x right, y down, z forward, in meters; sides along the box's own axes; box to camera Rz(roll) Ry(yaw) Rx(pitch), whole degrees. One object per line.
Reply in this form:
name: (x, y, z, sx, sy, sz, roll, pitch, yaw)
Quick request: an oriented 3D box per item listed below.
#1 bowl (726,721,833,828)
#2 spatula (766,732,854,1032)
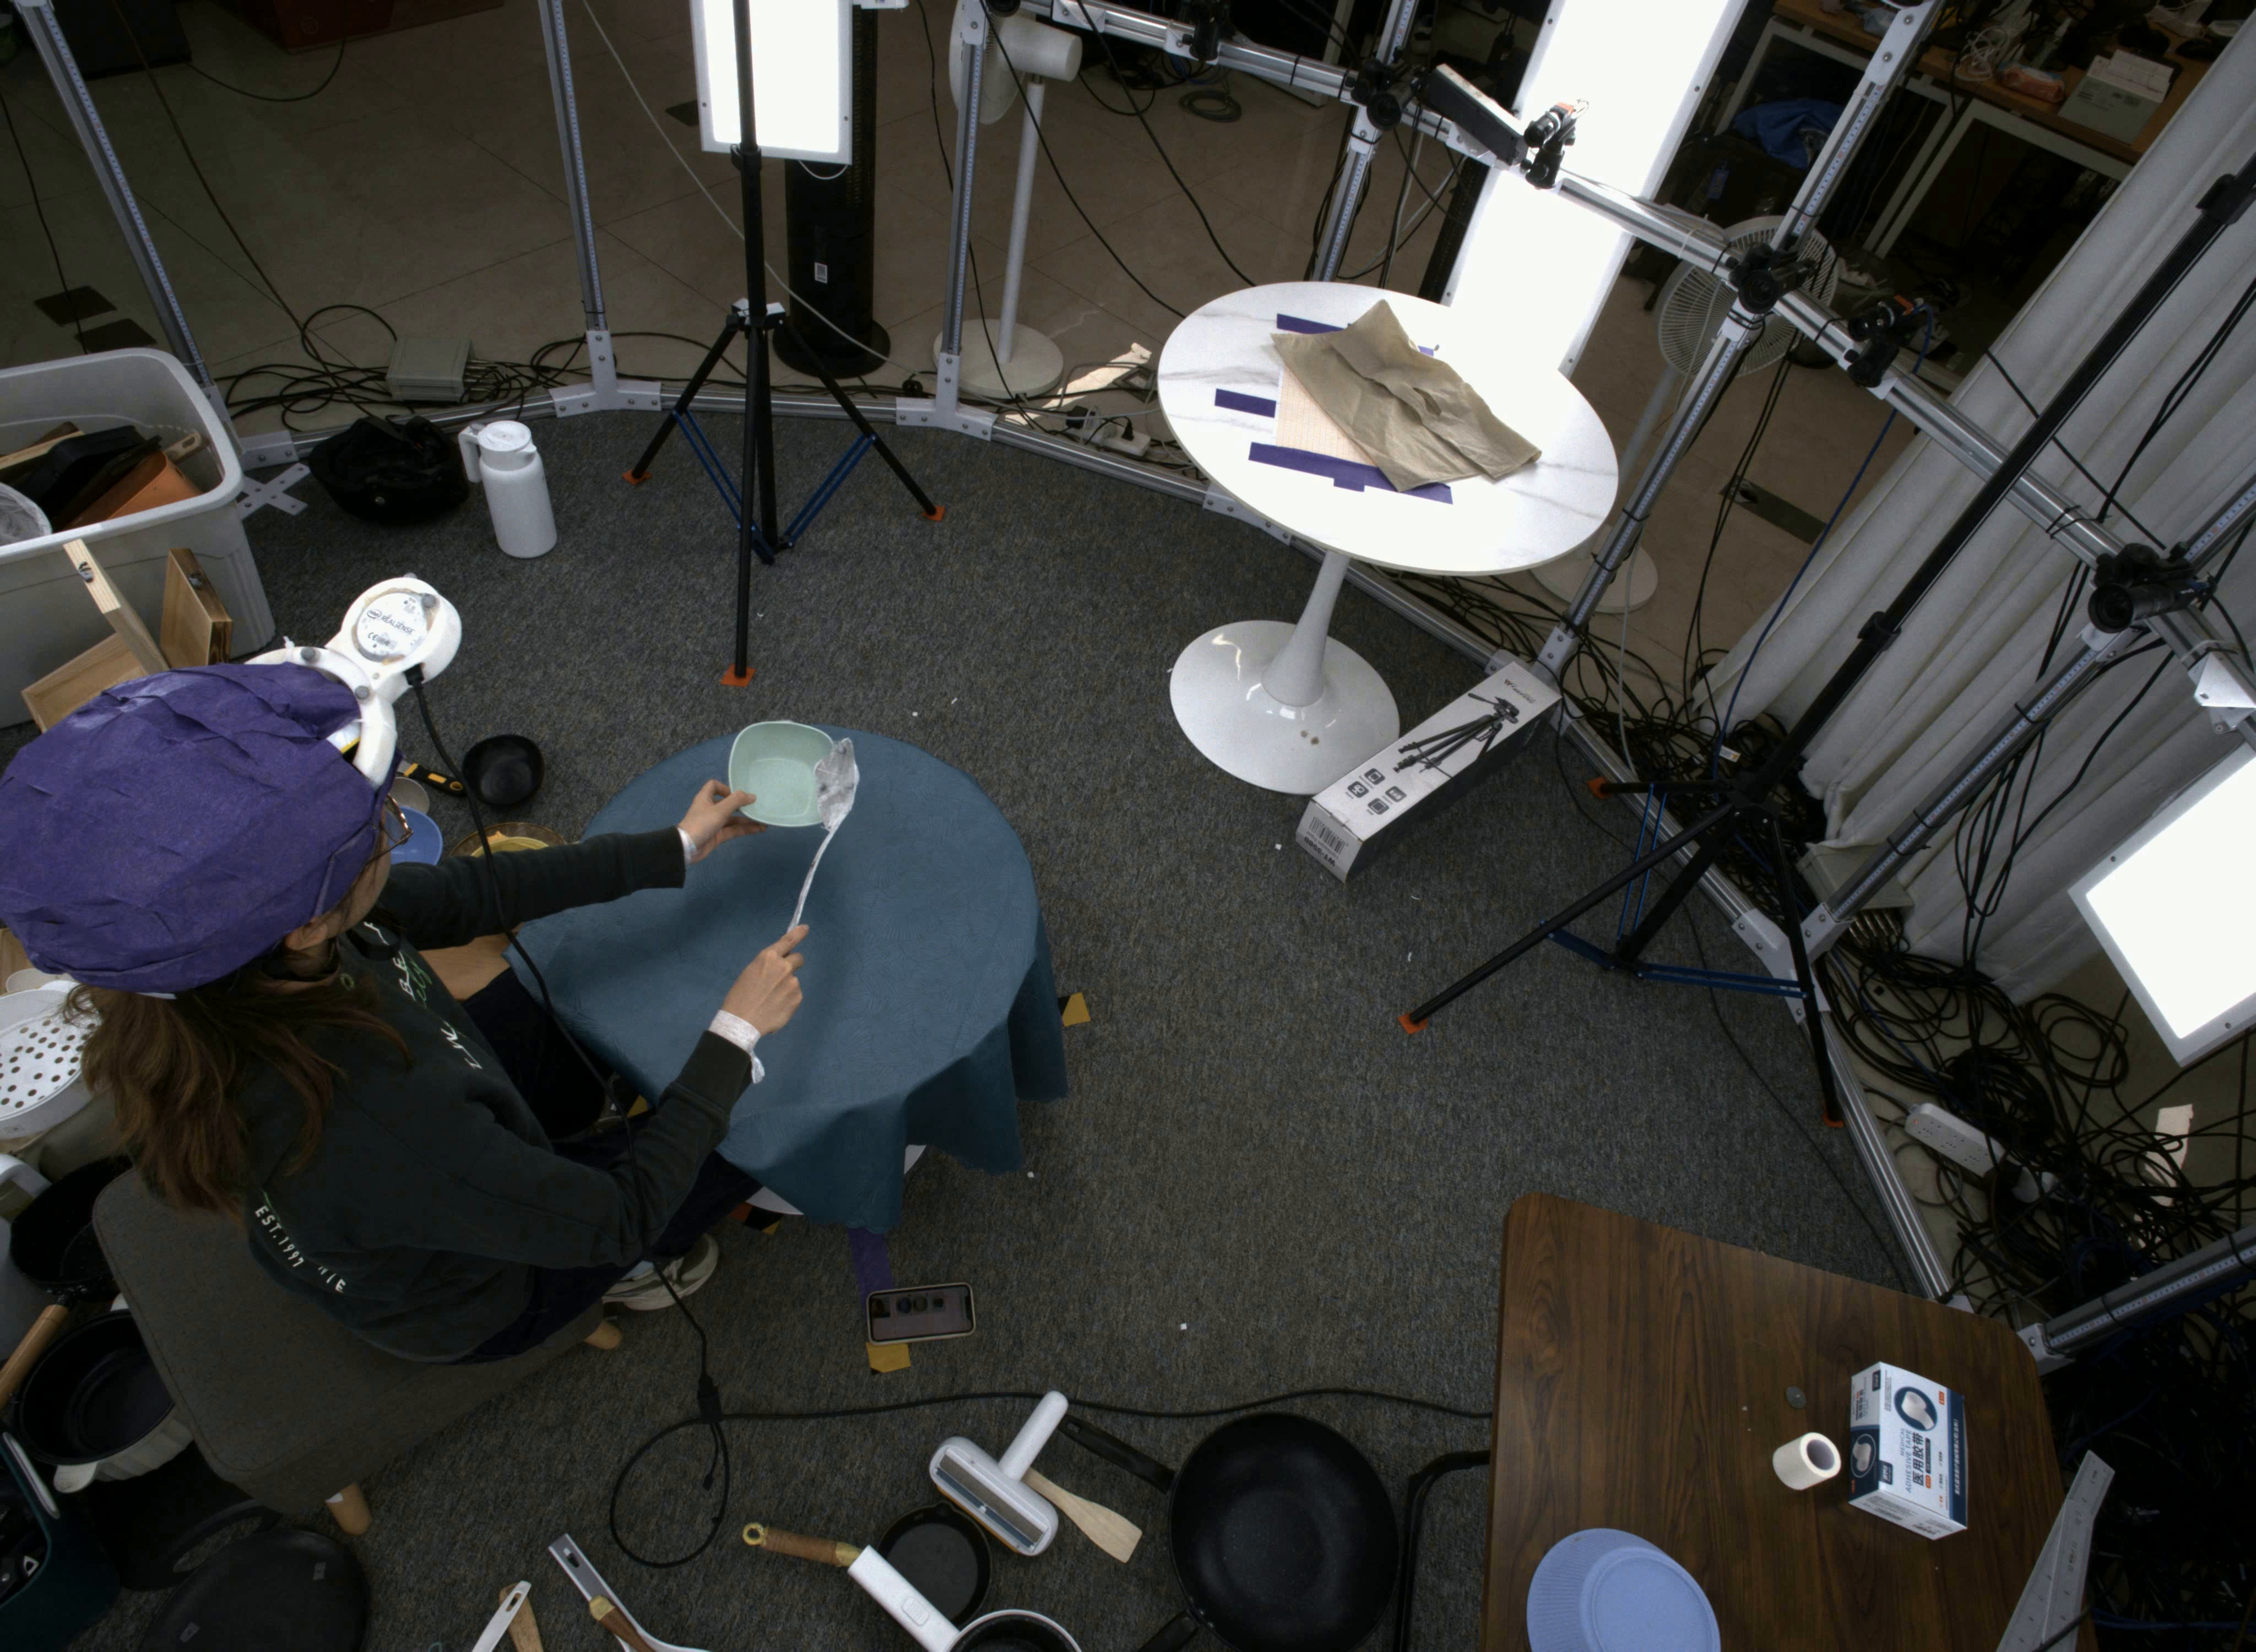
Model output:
bowl: (-0.432, -0.055, 1.612, 0.153, 0.058, 0.150, 11, 65, -22)
spatula: (-0.367, 0.055, 1.464, 0.046, 0.097, 0.360, 31, 51, -29)
